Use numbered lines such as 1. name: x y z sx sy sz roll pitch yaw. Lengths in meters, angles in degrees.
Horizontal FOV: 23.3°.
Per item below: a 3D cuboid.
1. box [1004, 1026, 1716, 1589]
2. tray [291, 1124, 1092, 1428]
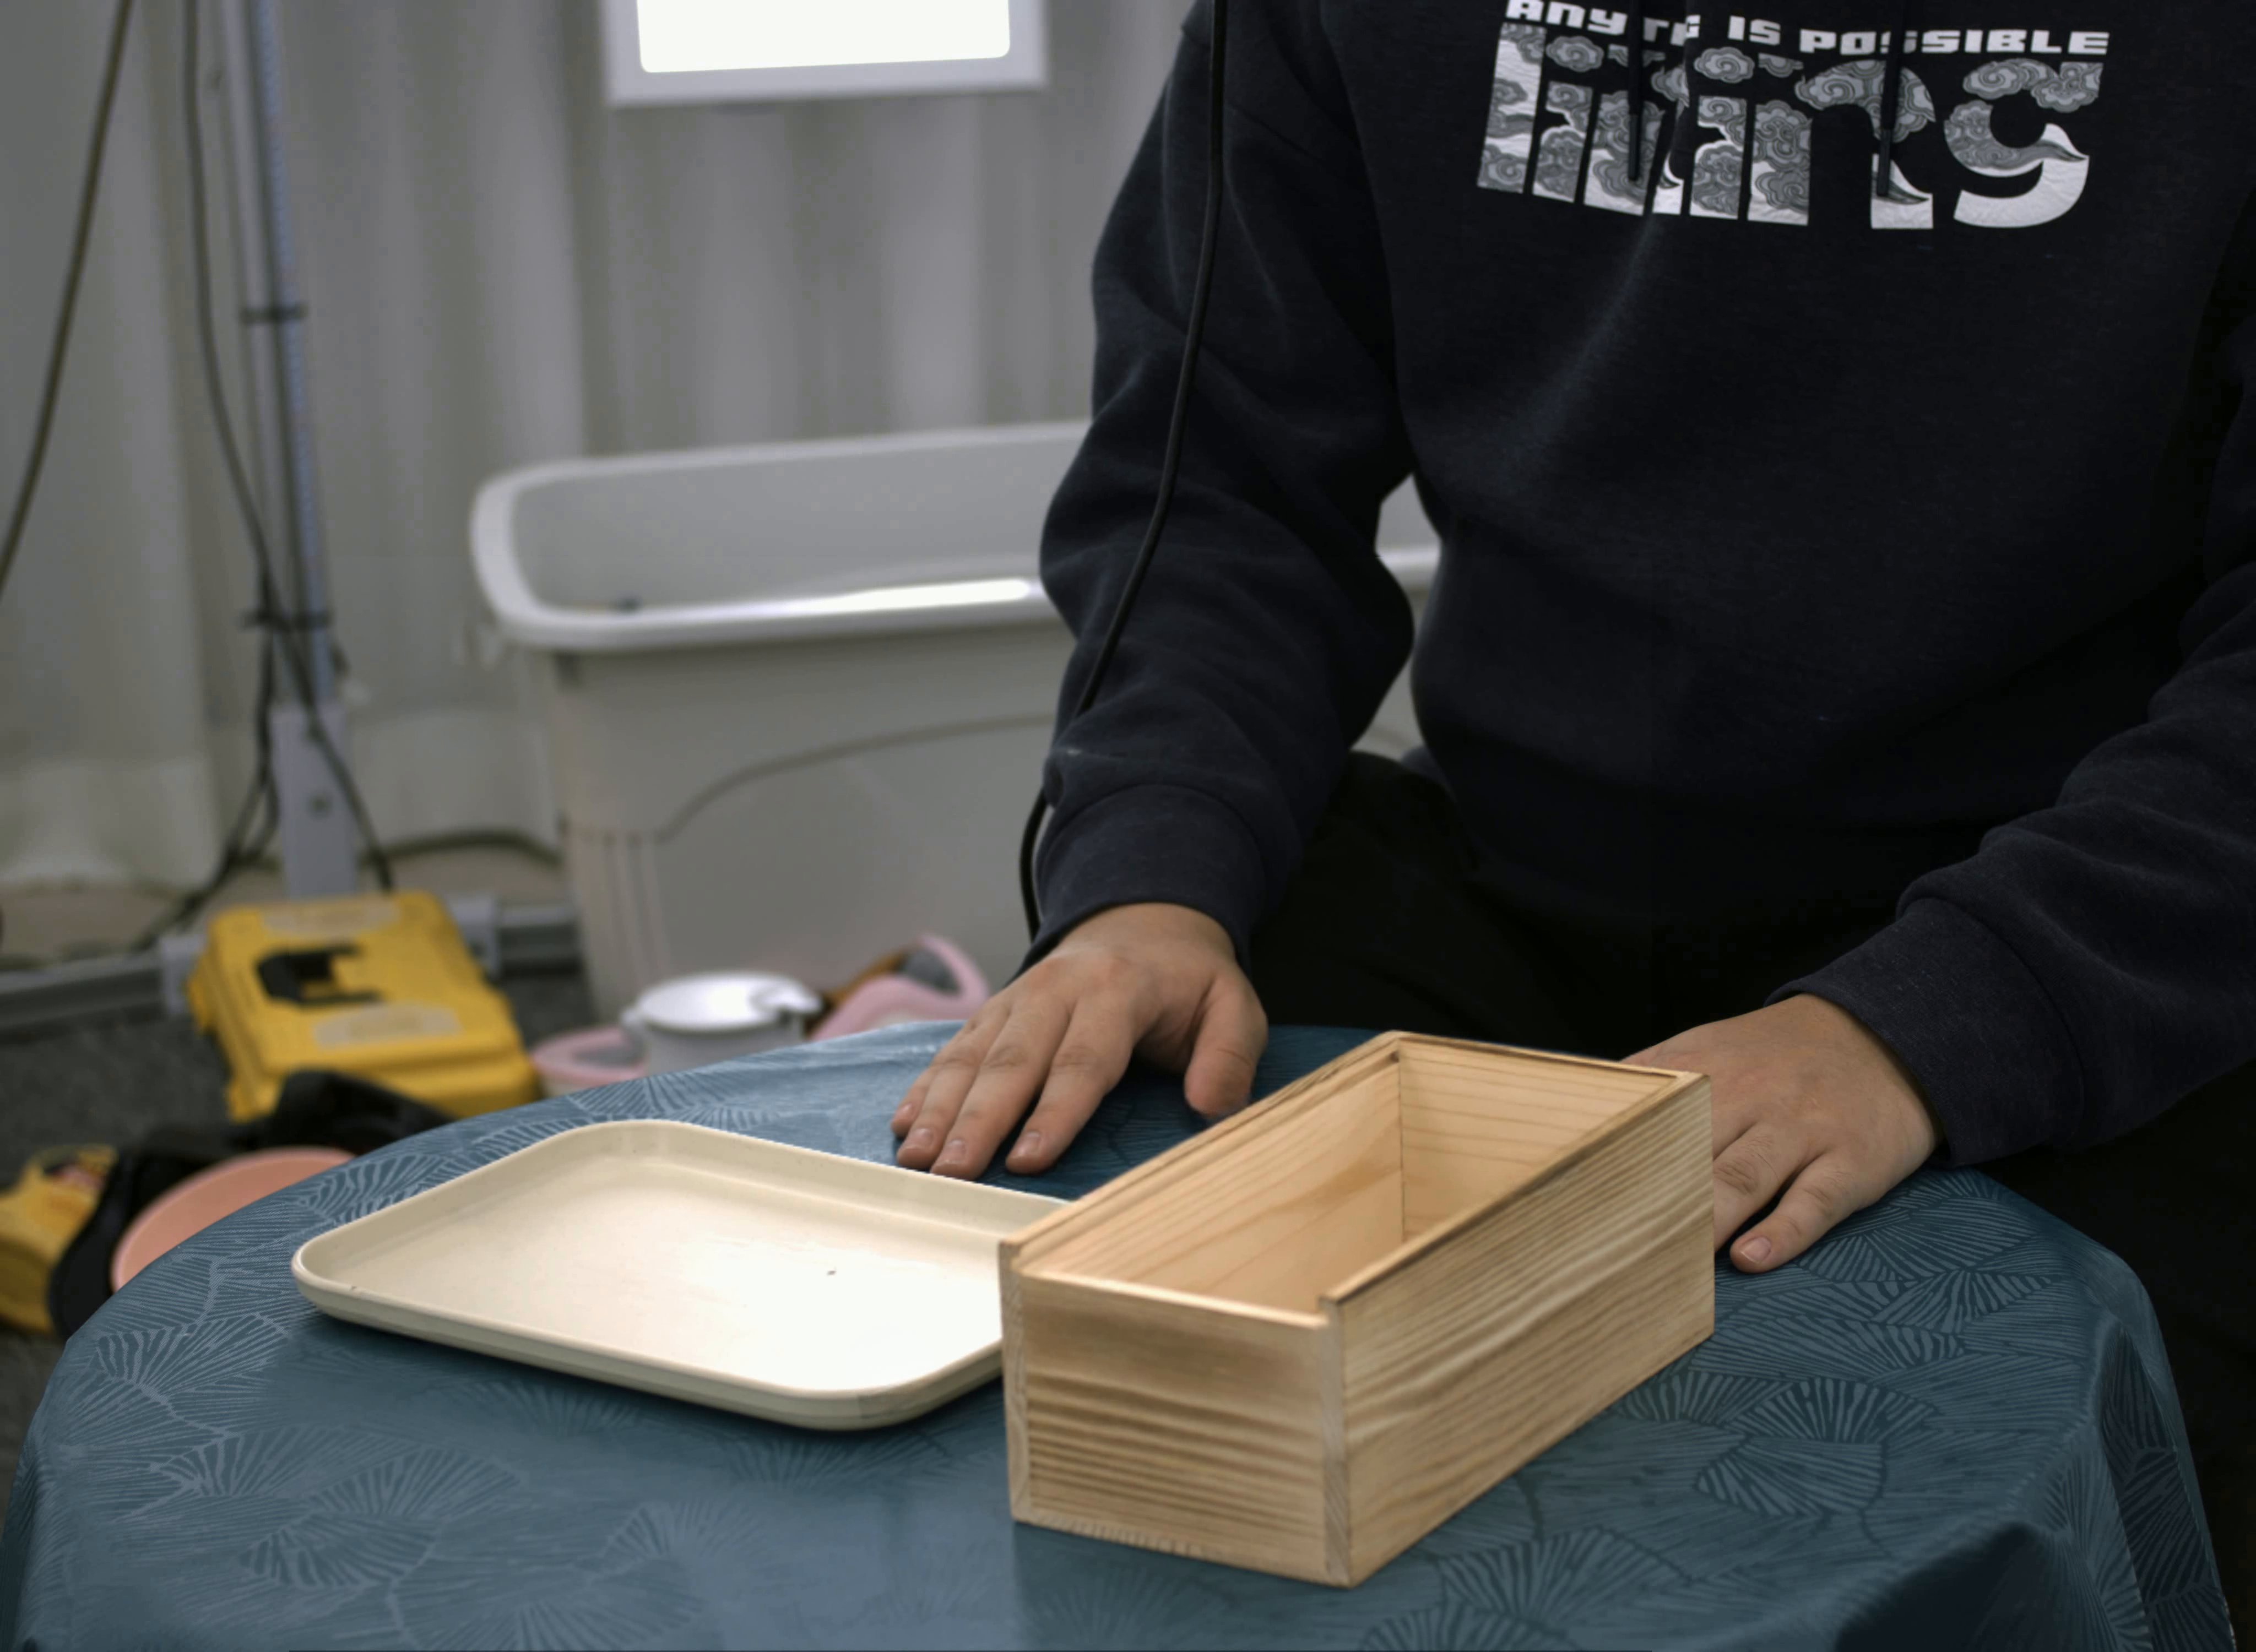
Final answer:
1. box: 0.068 0.127 1.503 0.108 0.080 0.211 7 17 31
2. tray: -0.117 0.133 1.634 0.240 0.017 0.171 8 18 35
